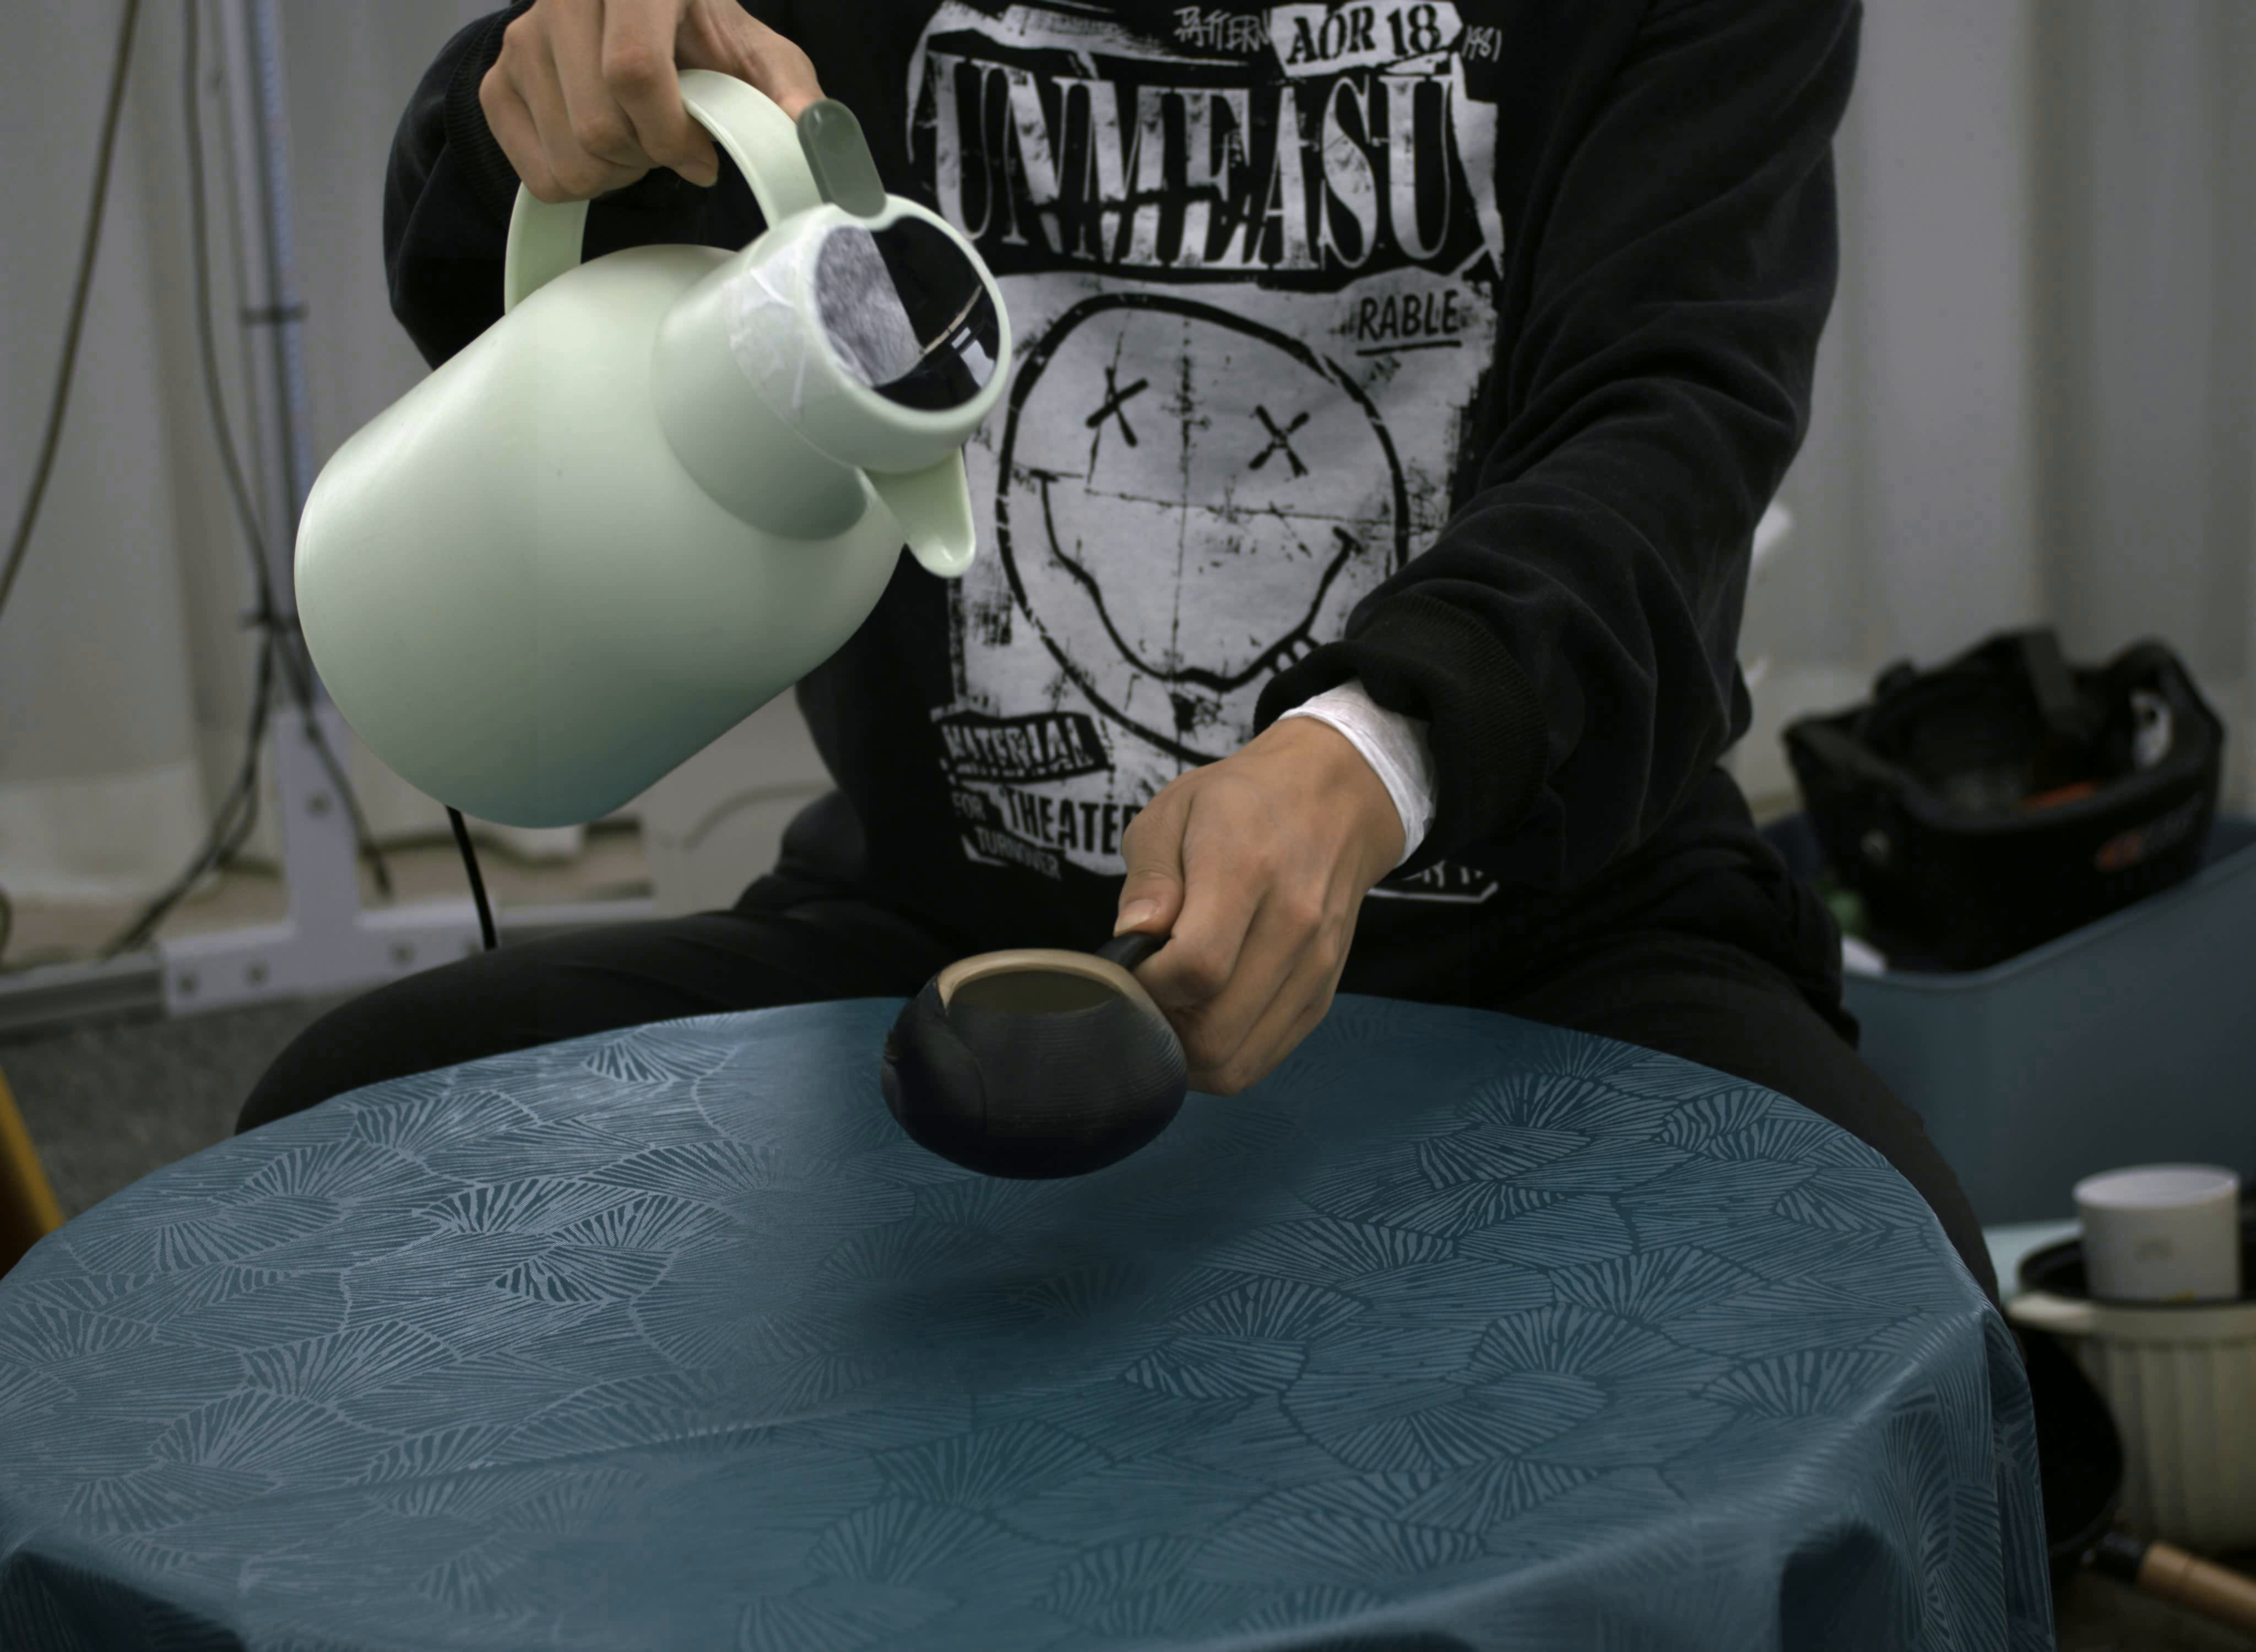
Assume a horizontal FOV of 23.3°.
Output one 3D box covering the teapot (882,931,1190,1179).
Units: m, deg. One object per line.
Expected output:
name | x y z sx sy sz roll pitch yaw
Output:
teapot | -0.026 0.069 1.606 0.091 0.053 0.133 14 23 34

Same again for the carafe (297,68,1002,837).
carafe | -0.142 -0.118 1.654 0.144 0.188 0.255 -15 -15 -41
